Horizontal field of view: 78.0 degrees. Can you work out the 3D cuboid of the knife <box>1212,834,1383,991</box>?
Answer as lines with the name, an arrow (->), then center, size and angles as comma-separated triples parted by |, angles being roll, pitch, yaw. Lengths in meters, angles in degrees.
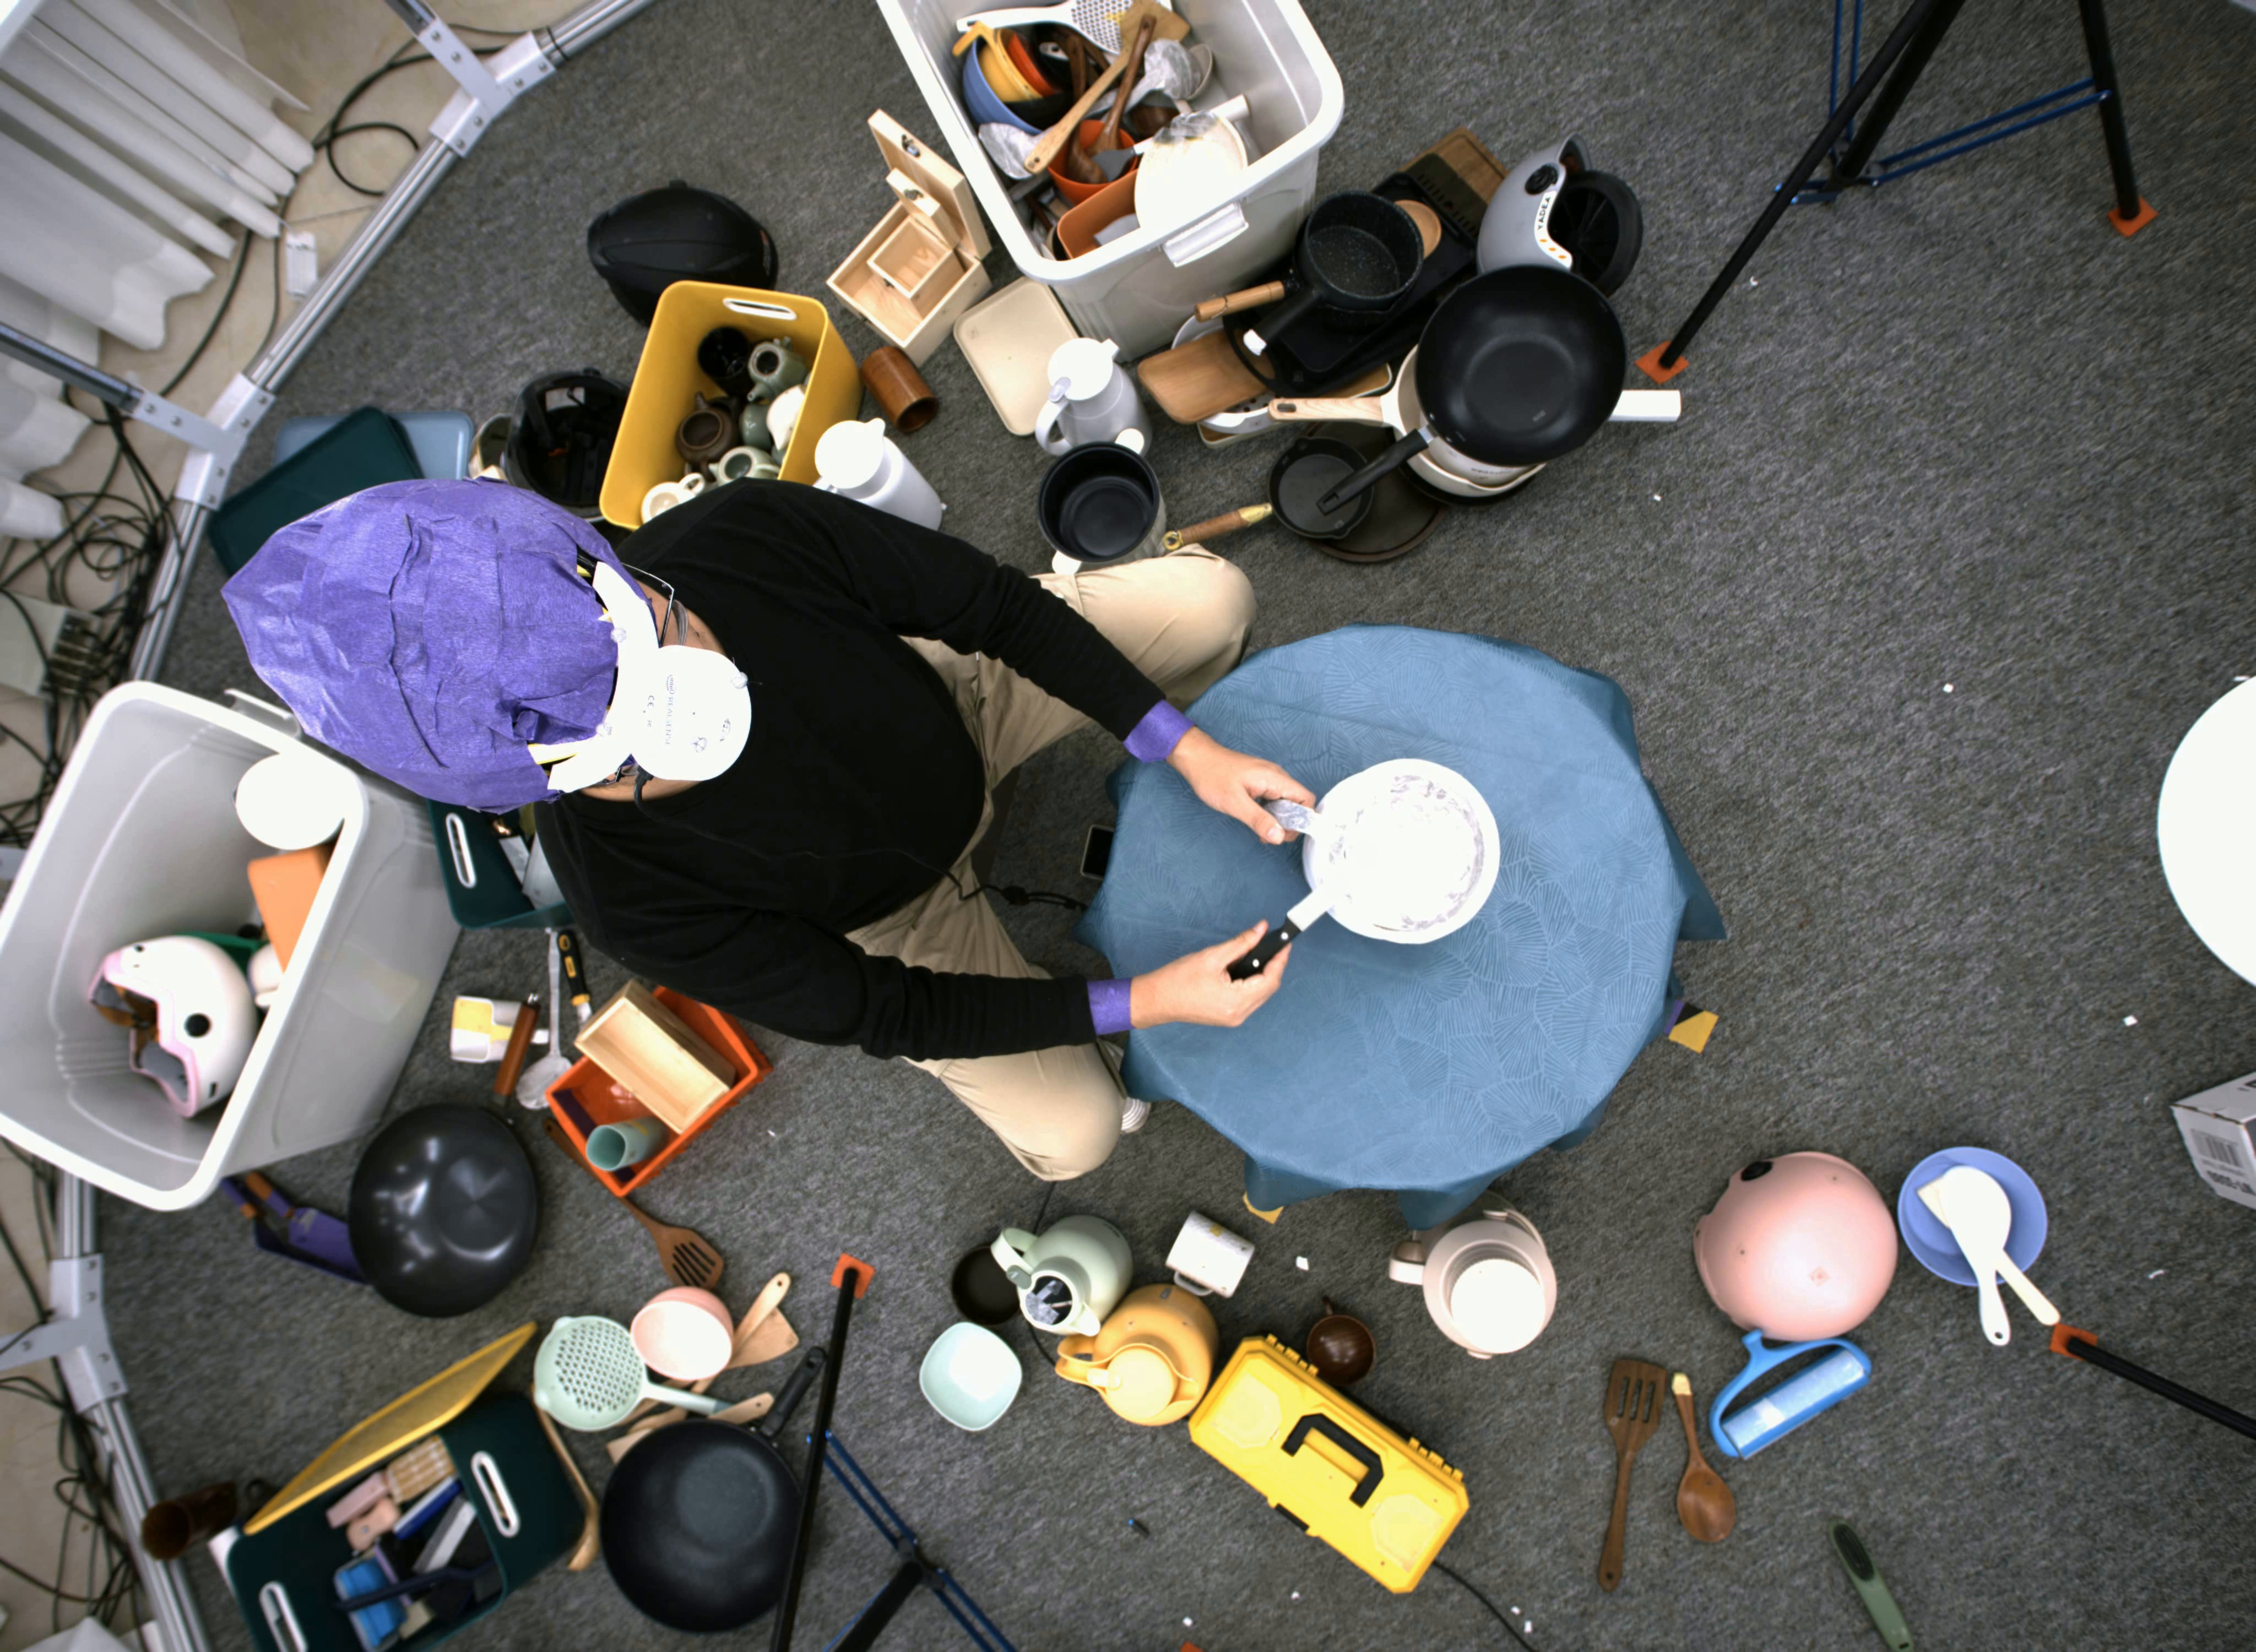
knife -> 0.165, 0.087, 1.342 | 0.024, 0.016, 0.243 | 46, 118, 4

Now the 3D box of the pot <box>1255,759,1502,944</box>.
pot -> 0.243, 0.018, 1.384 | 0.234, 0.137, 0.178 | 16, 89, 0
